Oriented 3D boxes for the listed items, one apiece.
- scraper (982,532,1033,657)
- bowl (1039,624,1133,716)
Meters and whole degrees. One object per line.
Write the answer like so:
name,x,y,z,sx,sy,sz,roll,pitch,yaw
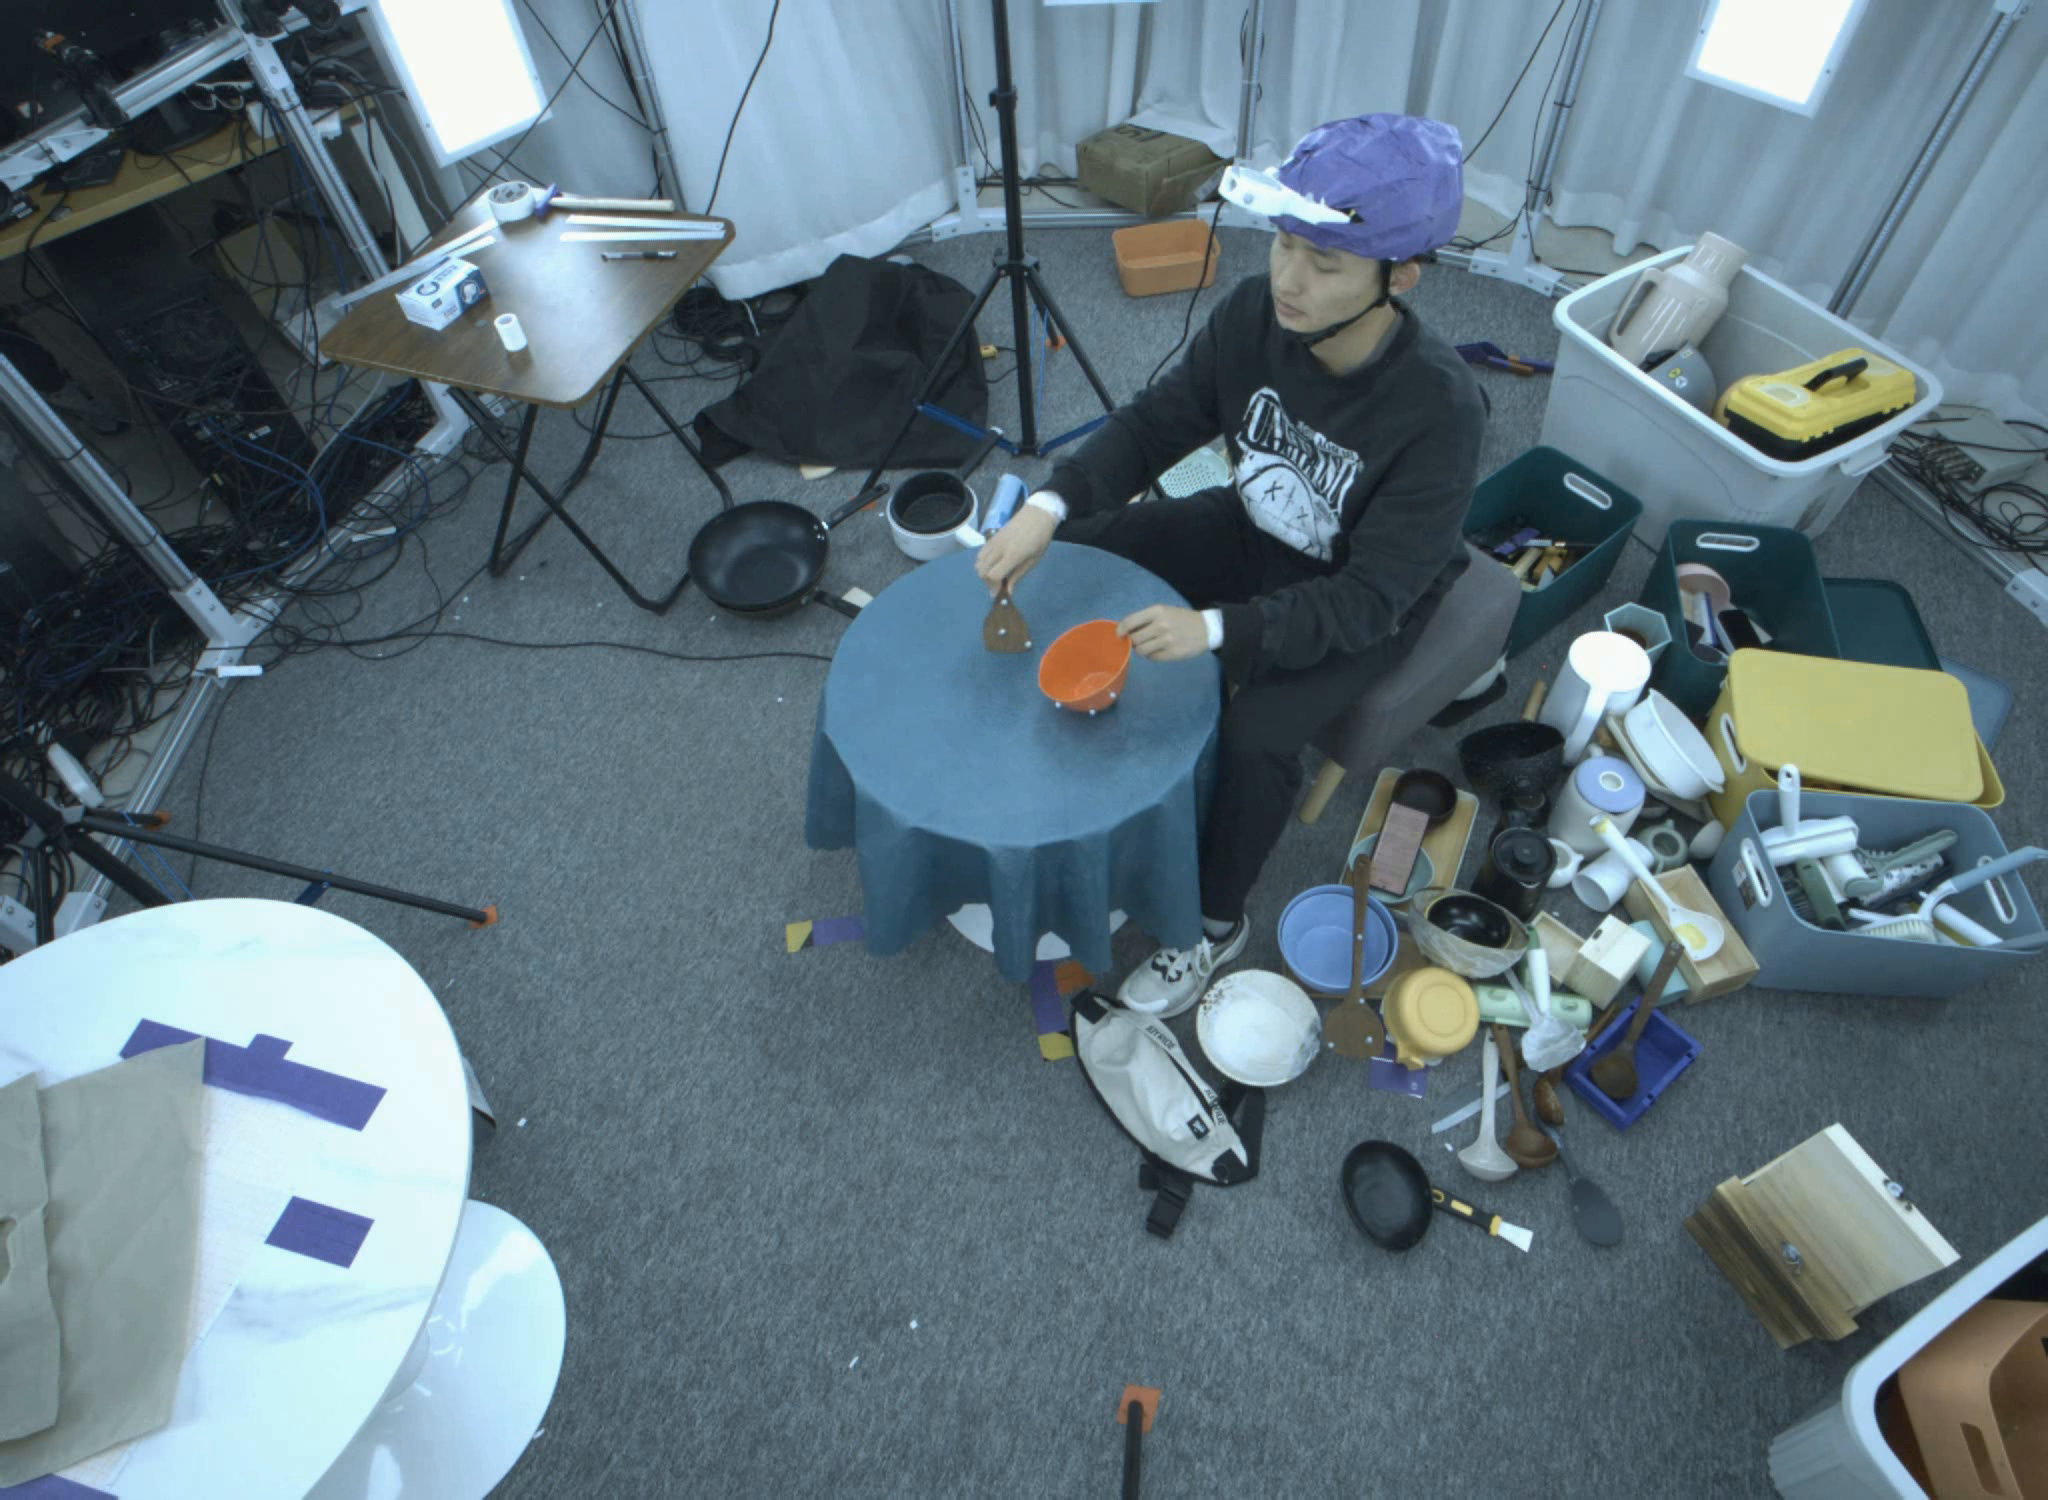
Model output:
scraper,-0.035,-0.232,1.820,0.077,0.011,0.209,-2,71,-16
bowl,0.101,-0.101,1.793,0.146,0.107,0.146,-10,56,17
